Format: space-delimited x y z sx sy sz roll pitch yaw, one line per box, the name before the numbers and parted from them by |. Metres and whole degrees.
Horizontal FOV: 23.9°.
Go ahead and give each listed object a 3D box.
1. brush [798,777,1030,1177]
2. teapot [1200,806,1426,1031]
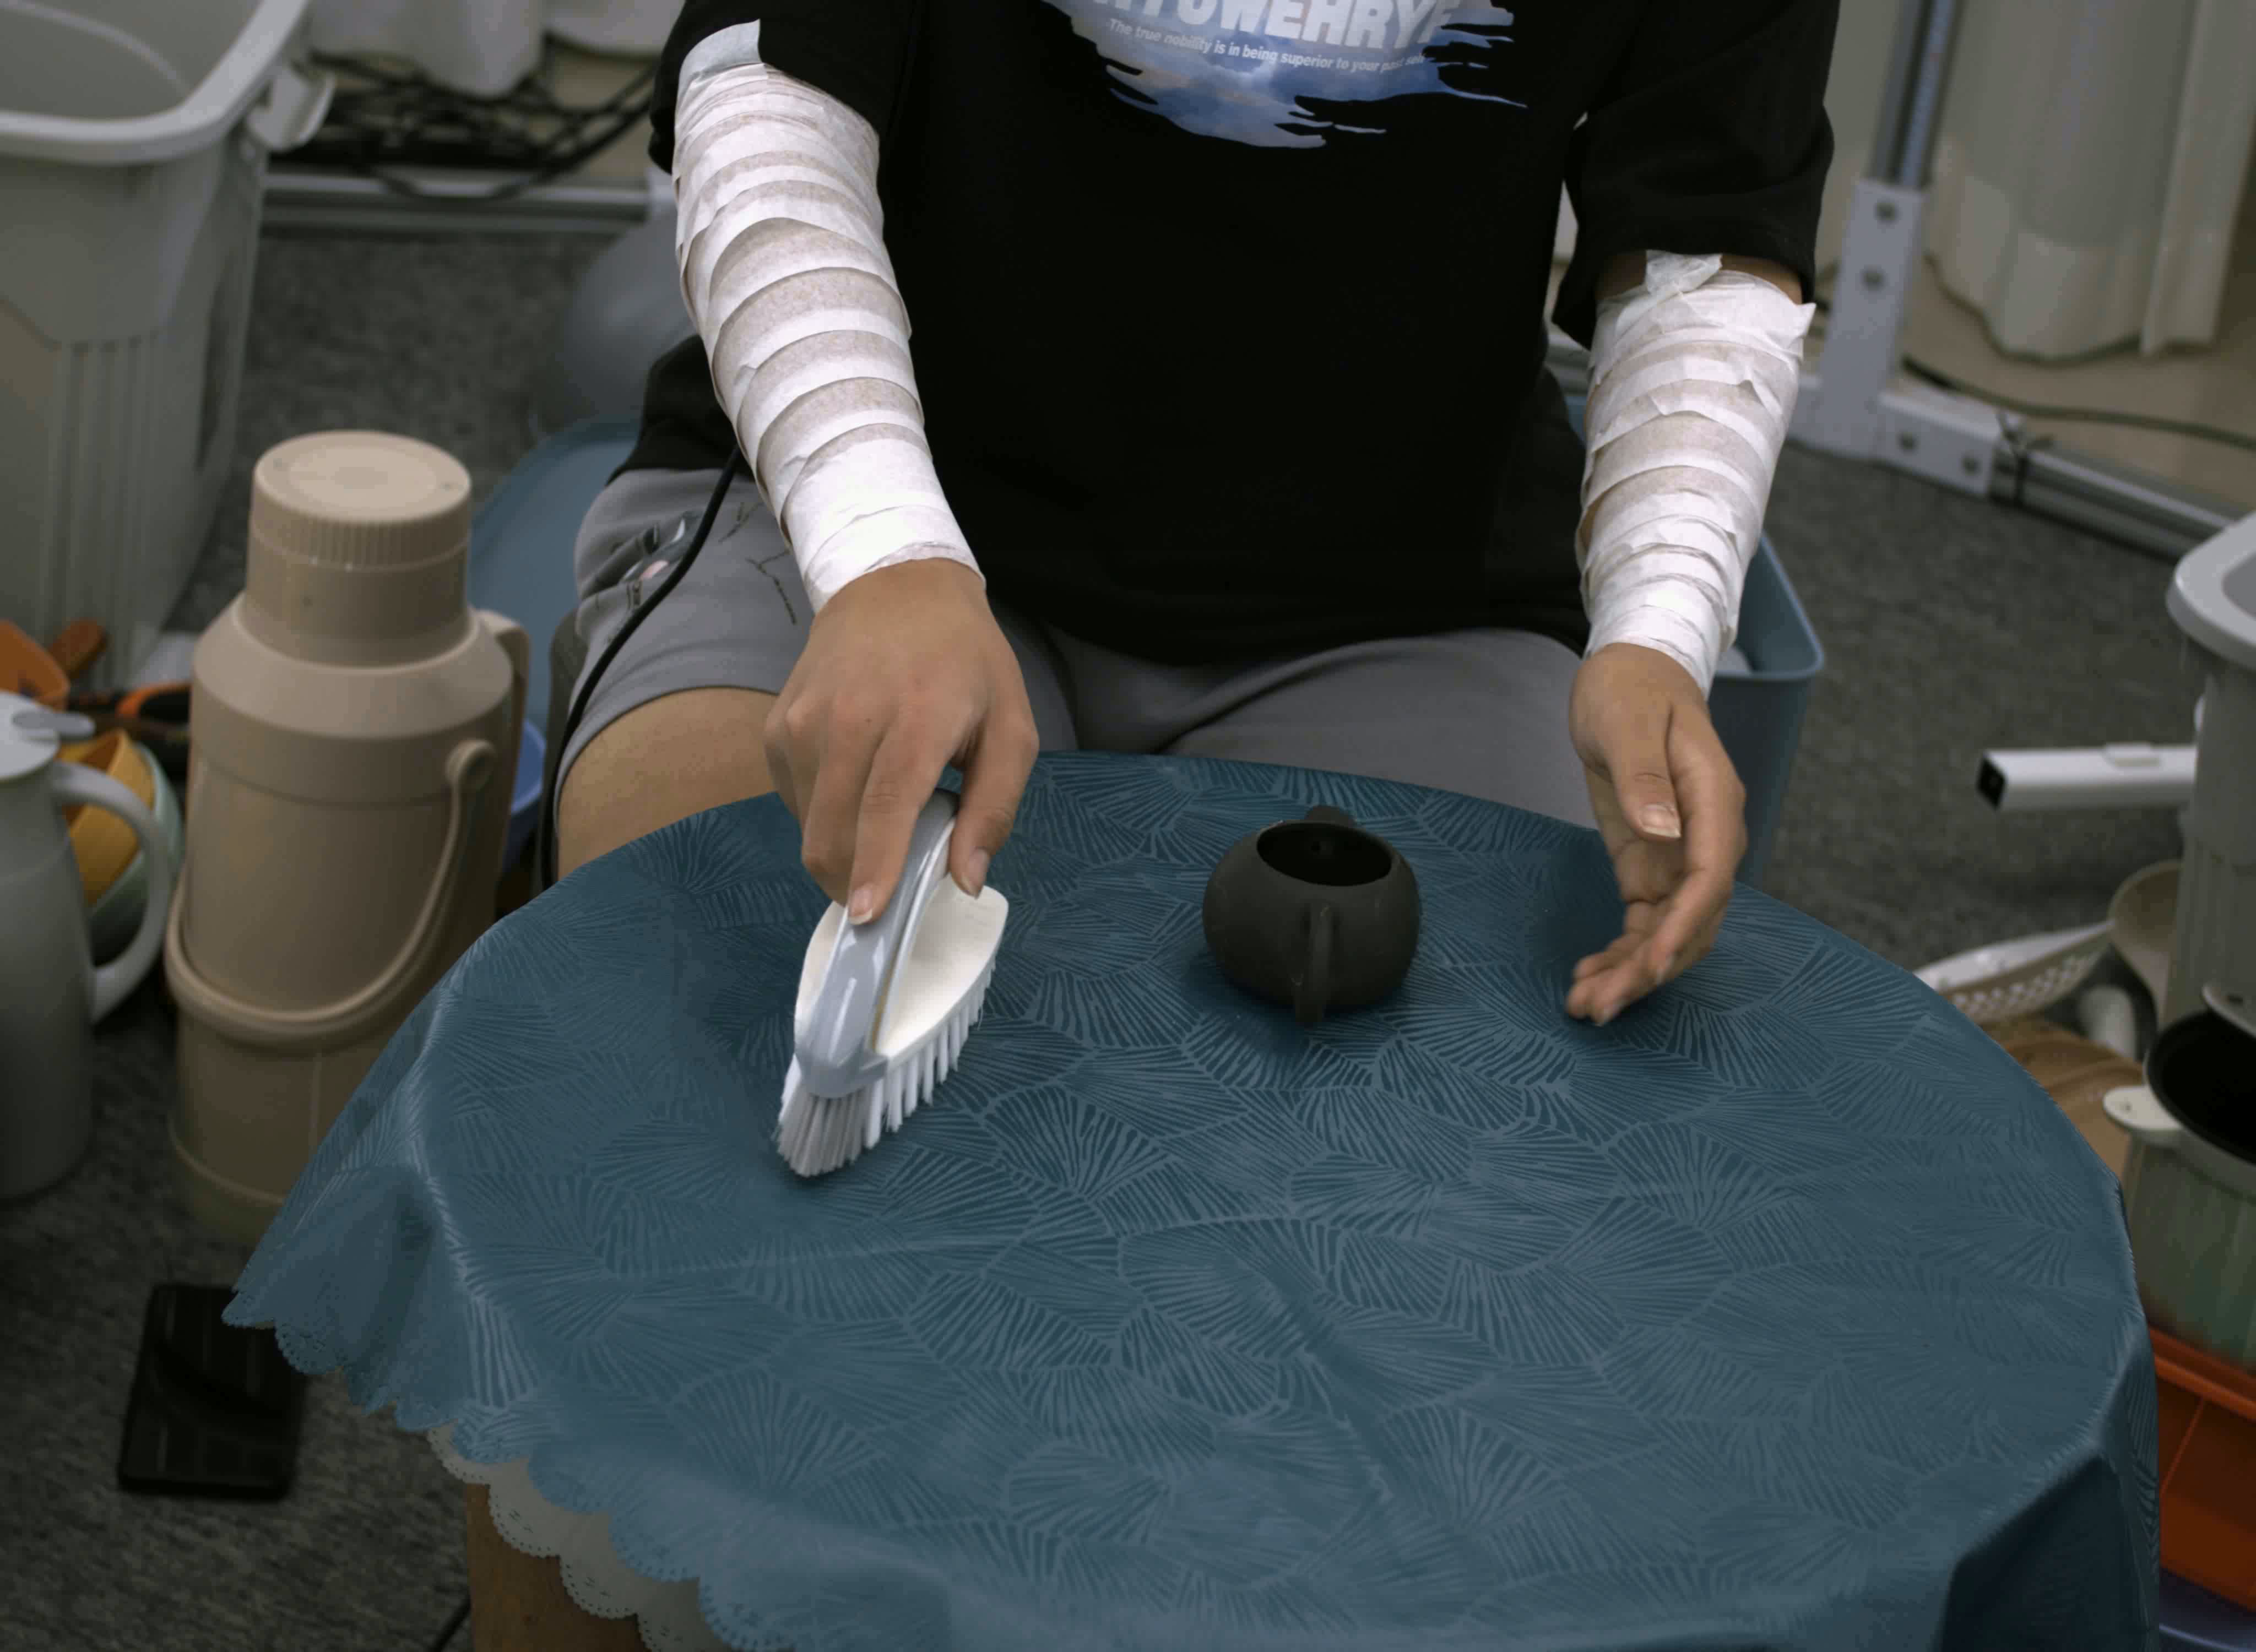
brush | -0.080 0.045 1.840 0.061 0.094 0.176 9 28 12
teapot | 0.067 0.037 1.935 0.083 0.053 0.114 7 25 0
